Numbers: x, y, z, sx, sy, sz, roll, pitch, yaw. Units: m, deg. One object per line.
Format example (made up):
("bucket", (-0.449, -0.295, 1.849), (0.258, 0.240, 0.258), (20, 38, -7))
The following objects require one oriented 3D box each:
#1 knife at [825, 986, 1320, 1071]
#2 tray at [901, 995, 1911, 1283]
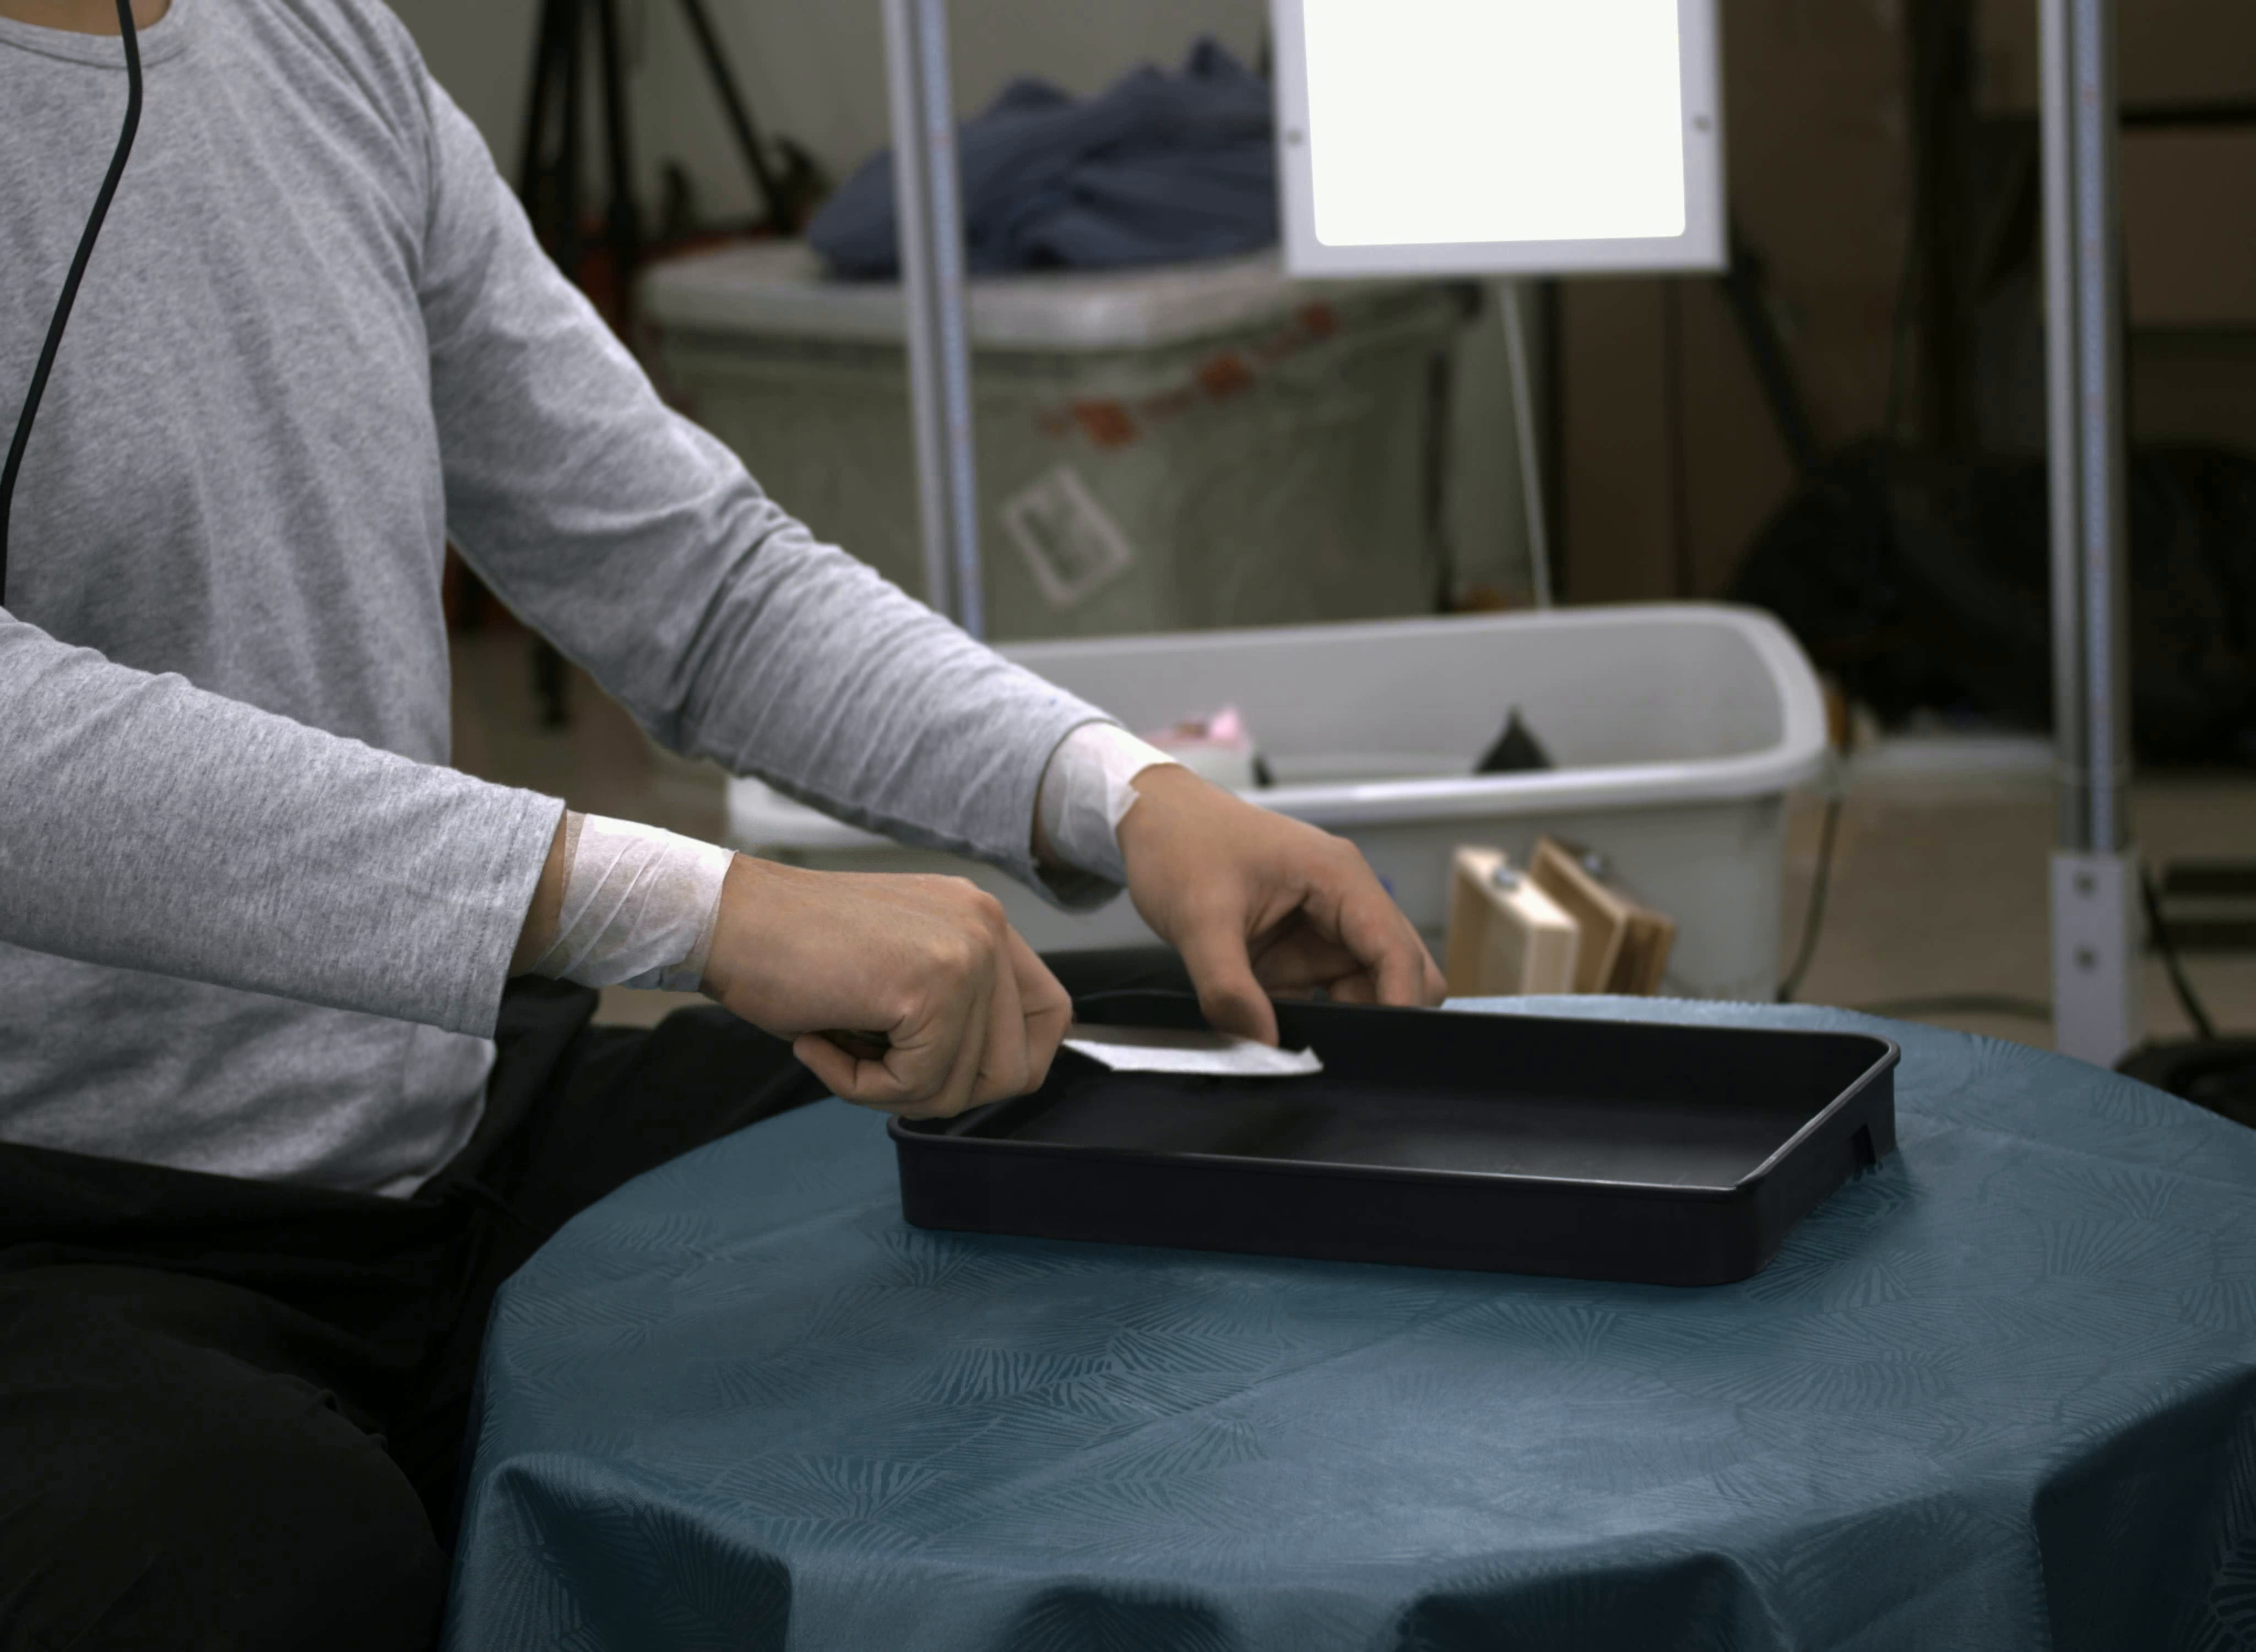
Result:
("knife", (-0.012, 0.072, 1.854), (0.051, 0.020, 0.282), (26, 10, 32))
("tray", (0.097, 0.104, 1.884), (0.323, 0.037, 0.180), (1, 15, 26))
